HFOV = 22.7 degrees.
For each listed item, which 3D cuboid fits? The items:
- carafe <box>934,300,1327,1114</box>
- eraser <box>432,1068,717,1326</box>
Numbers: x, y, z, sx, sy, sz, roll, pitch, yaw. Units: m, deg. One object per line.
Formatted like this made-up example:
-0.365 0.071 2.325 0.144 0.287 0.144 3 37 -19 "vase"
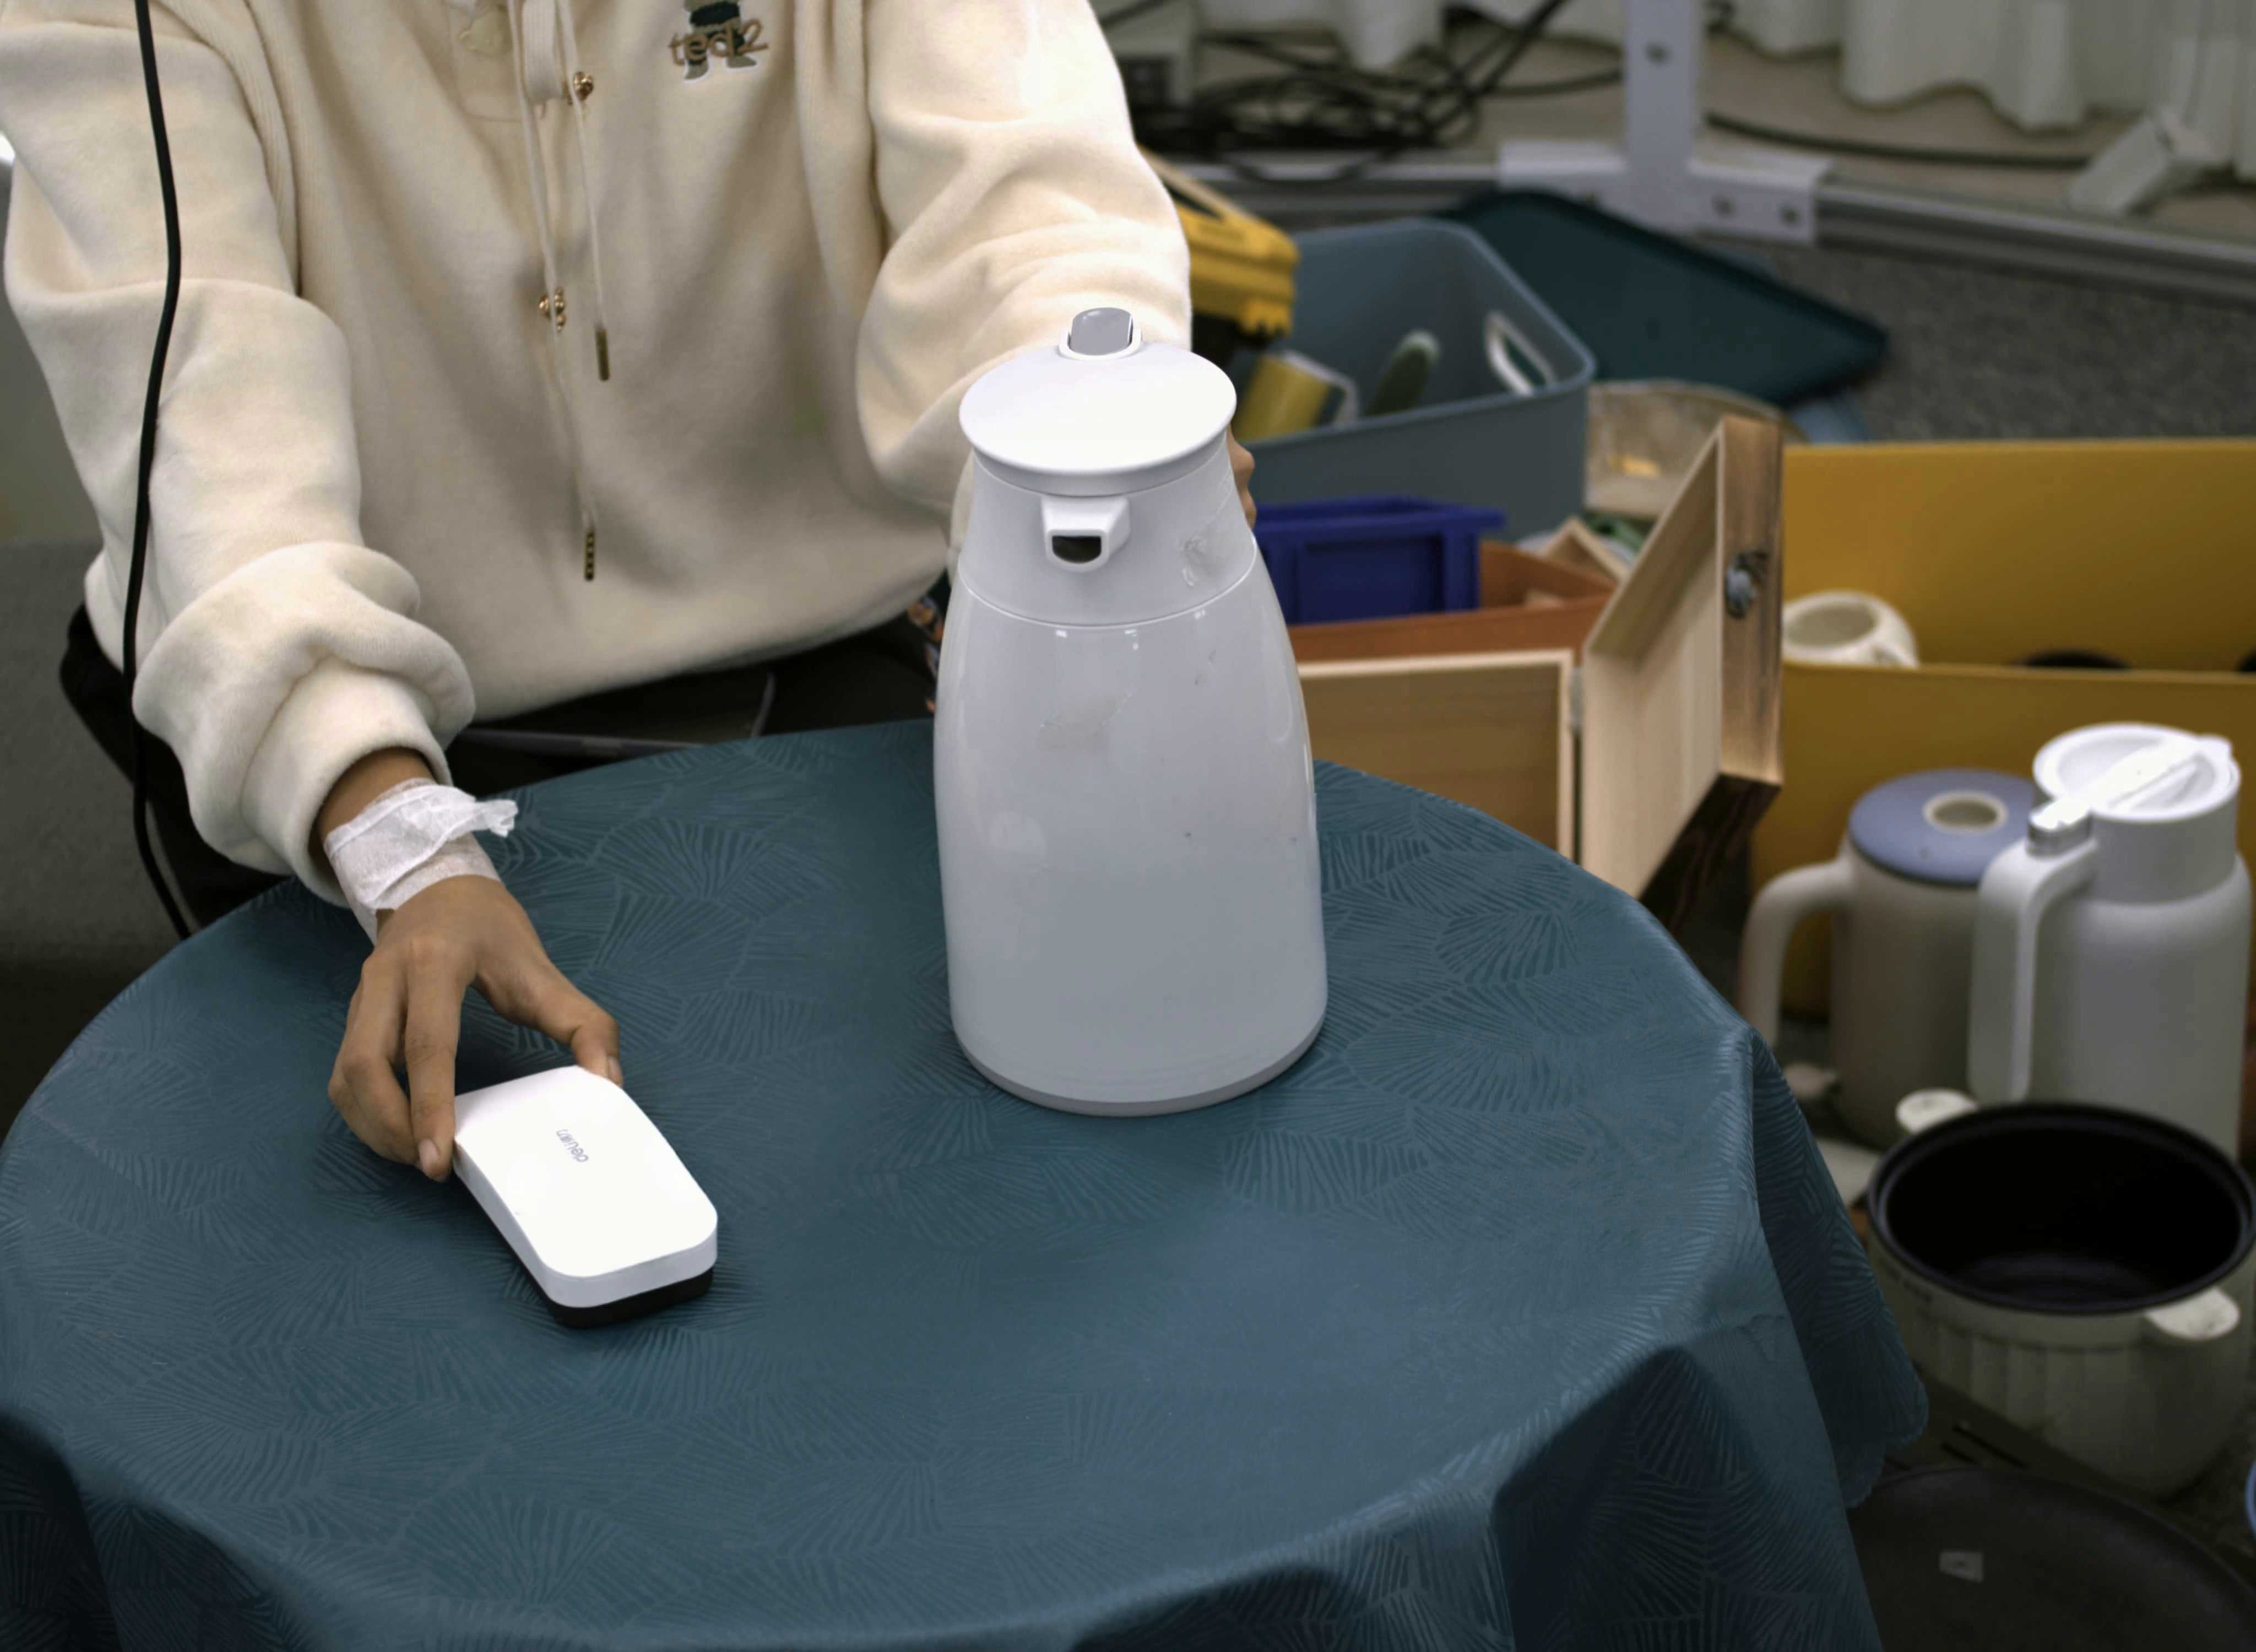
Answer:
-0.002 -0.051 1.916 0.132 0.246 0.170 -1 30 6 "carafe"
-0.182 0.119 1.851 0.063 0.034 0.132 -12 29 -22 "eraser"
